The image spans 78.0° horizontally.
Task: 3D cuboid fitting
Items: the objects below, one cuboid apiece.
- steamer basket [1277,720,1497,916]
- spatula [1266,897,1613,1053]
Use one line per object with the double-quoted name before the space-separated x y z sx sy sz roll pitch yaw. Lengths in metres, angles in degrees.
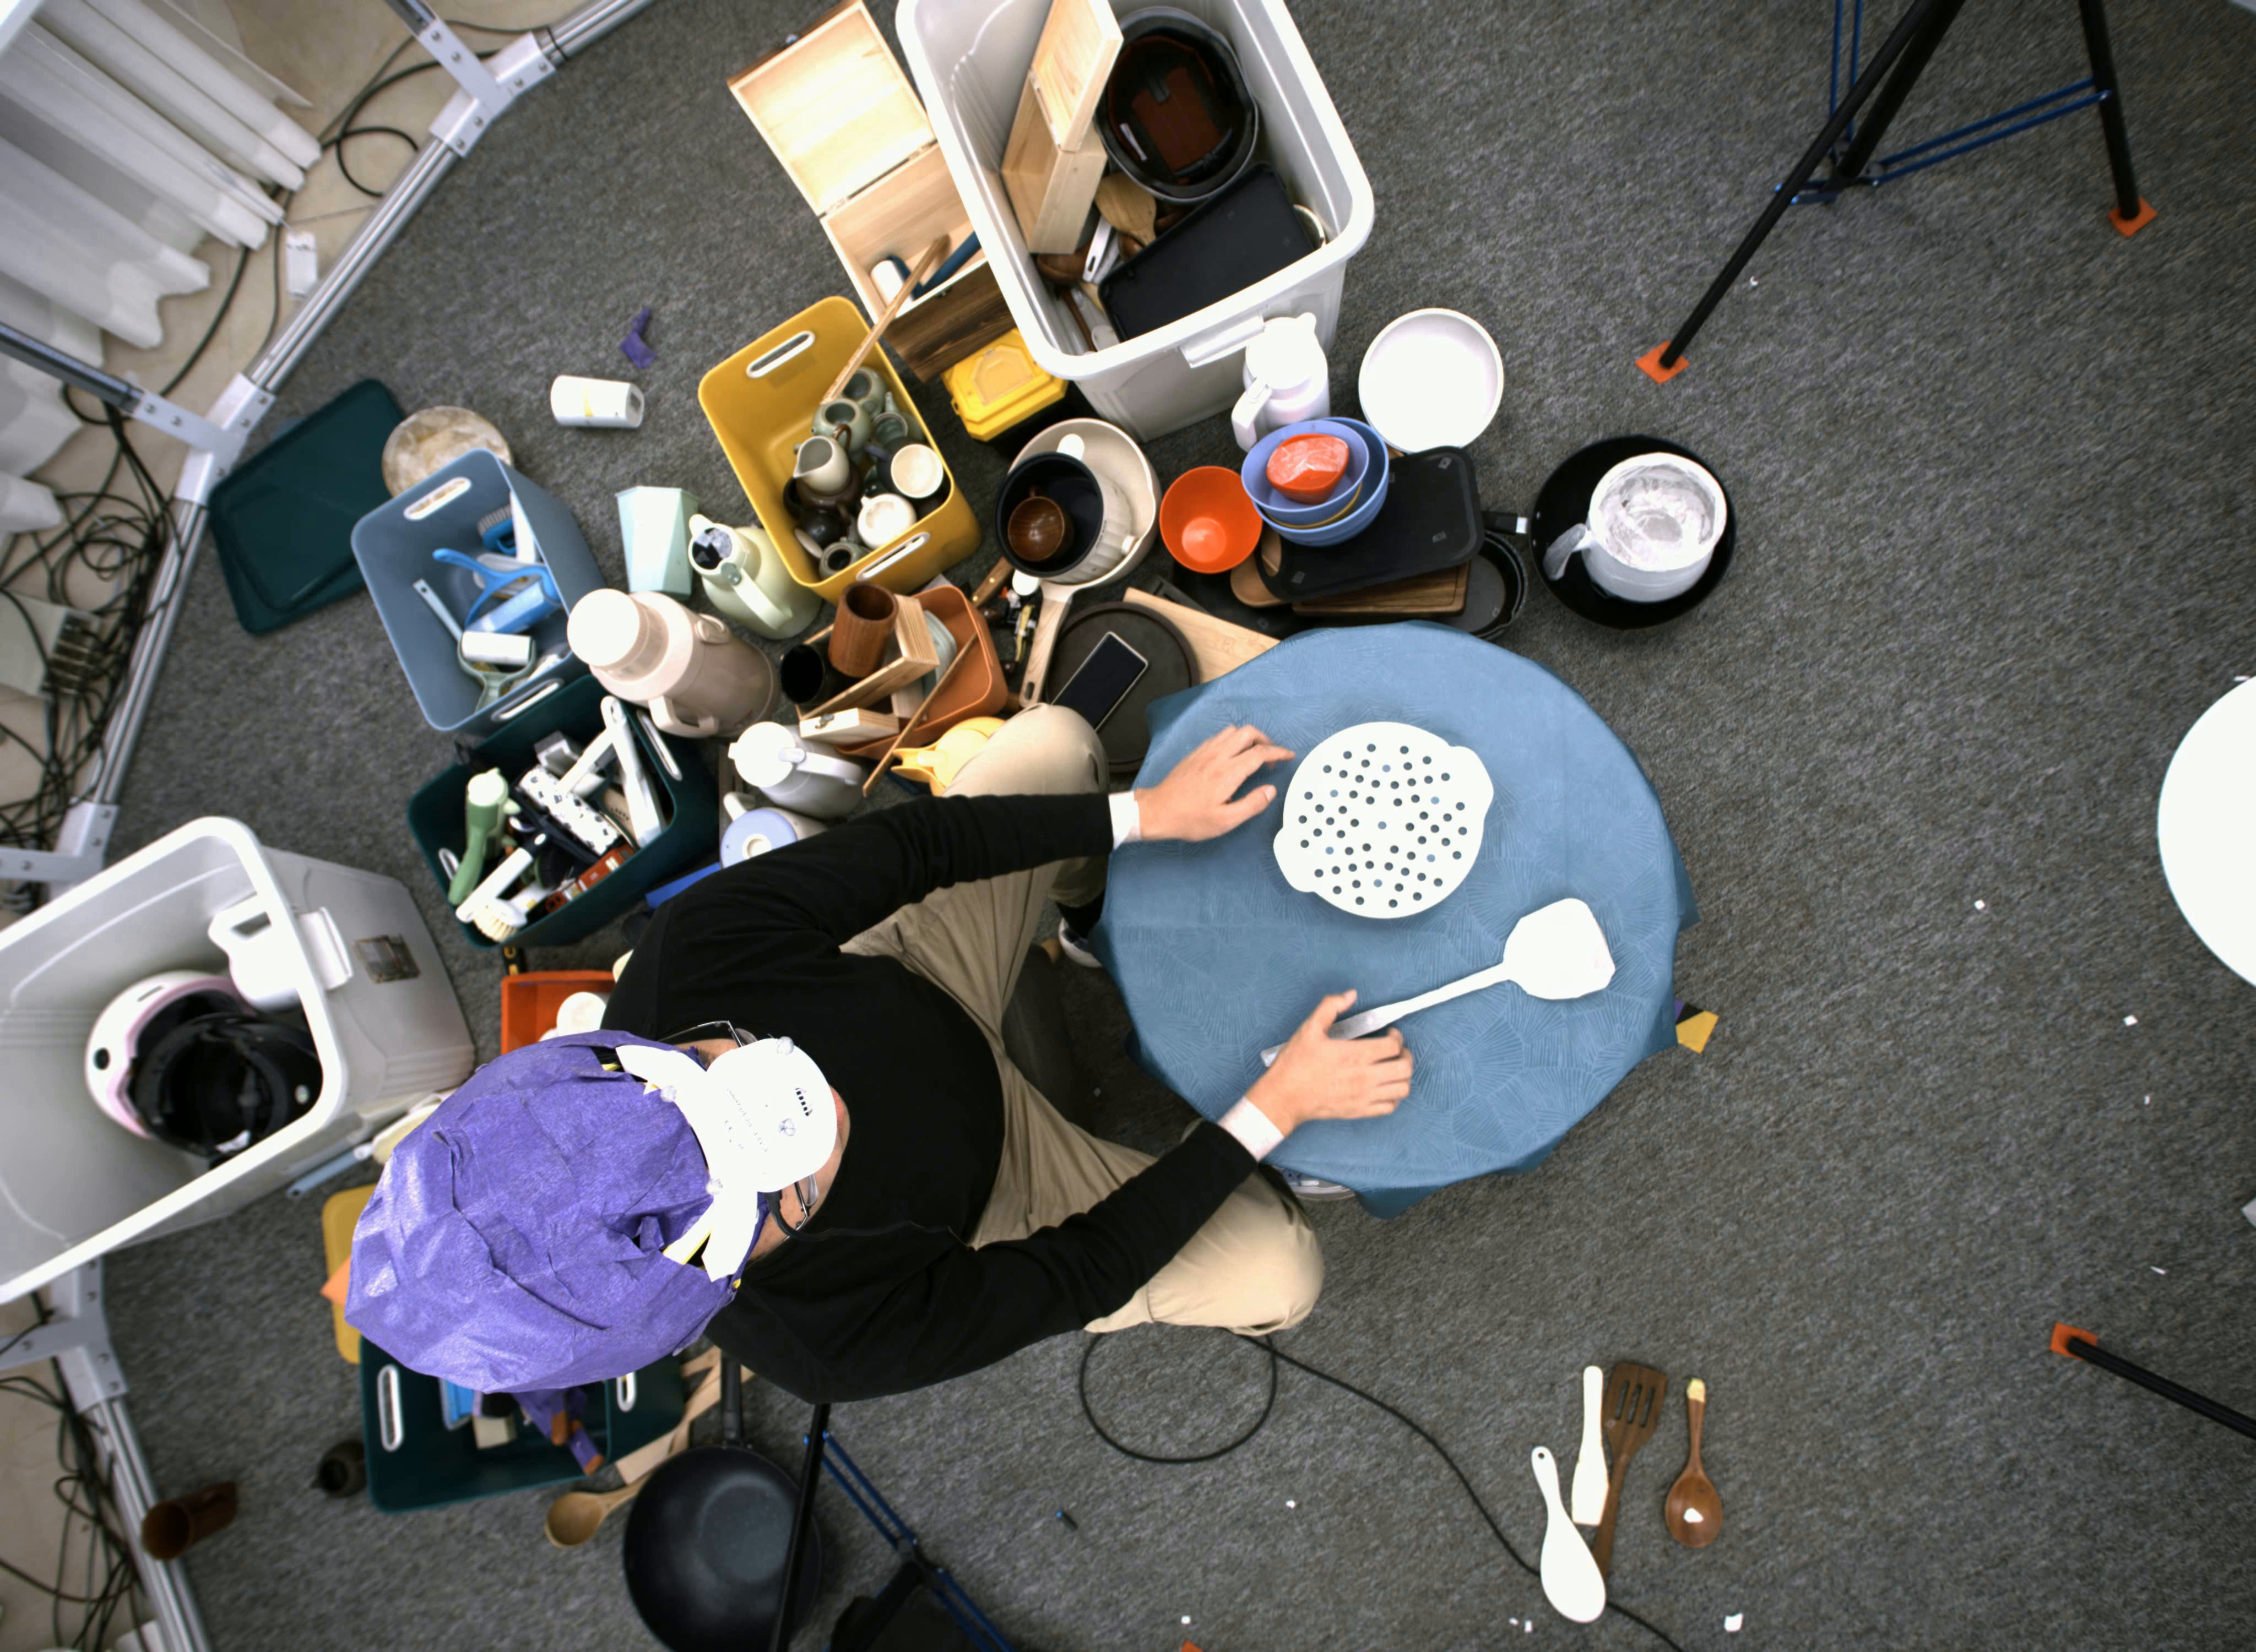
"steamer basket" 0.269 -0.007 1.429 0.232 0.069 0.200 -26 81 9
"spatula" 0.315 0.172 1.427 0.367 0.045 0.098 -21 85 9
